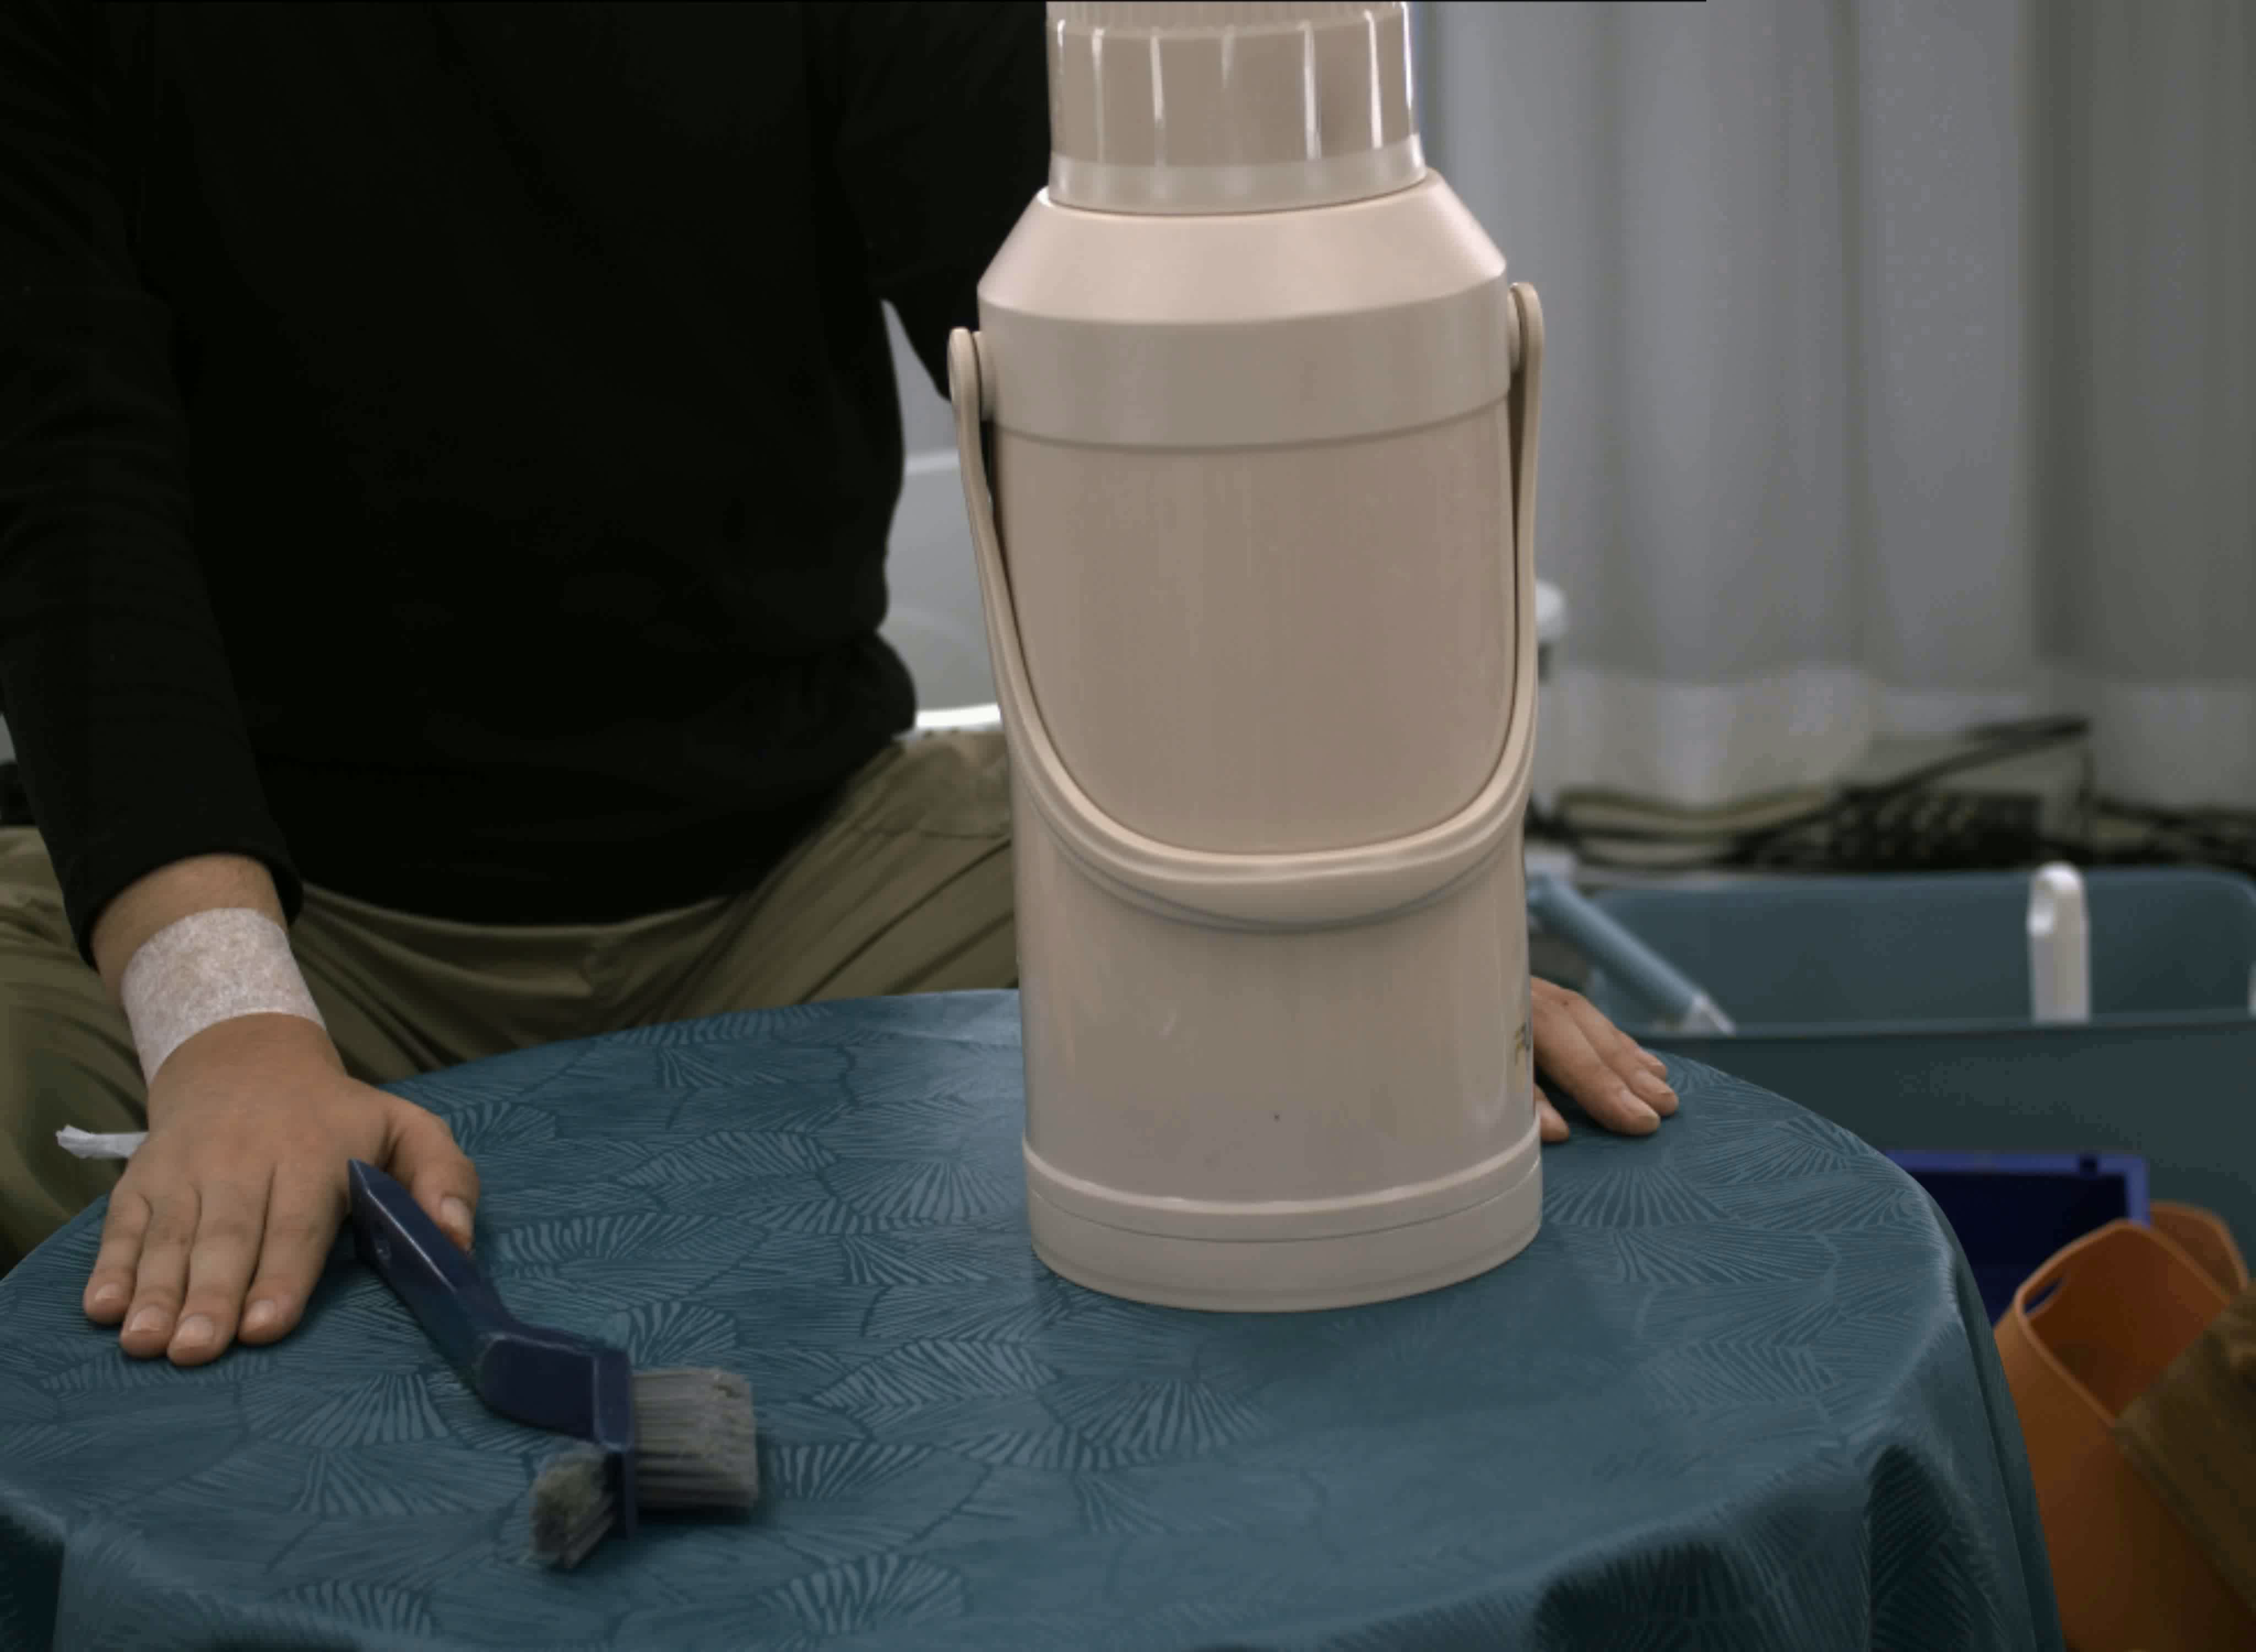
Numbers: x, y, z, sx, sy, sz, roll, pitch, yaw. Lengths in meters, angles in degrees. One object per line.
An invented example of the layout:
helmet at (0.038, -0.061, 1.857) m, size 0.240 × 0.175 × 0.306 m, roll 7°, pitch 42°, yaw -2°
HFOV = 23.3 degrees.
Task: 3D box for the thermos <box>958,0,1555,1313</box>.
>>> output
thermos at (0.040, -0.073, 1.644) m, size 0.174 × 0.405 × 0.208 m, roll -7°, pitch 14°, yaw -9°

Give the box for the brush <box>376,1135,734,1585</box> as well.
brush at (-0.188, 0.148, 1.561) m, size 0.095 × 0.033 × 0.275 m, roll -10°, pitch 18°, yaw -28°
